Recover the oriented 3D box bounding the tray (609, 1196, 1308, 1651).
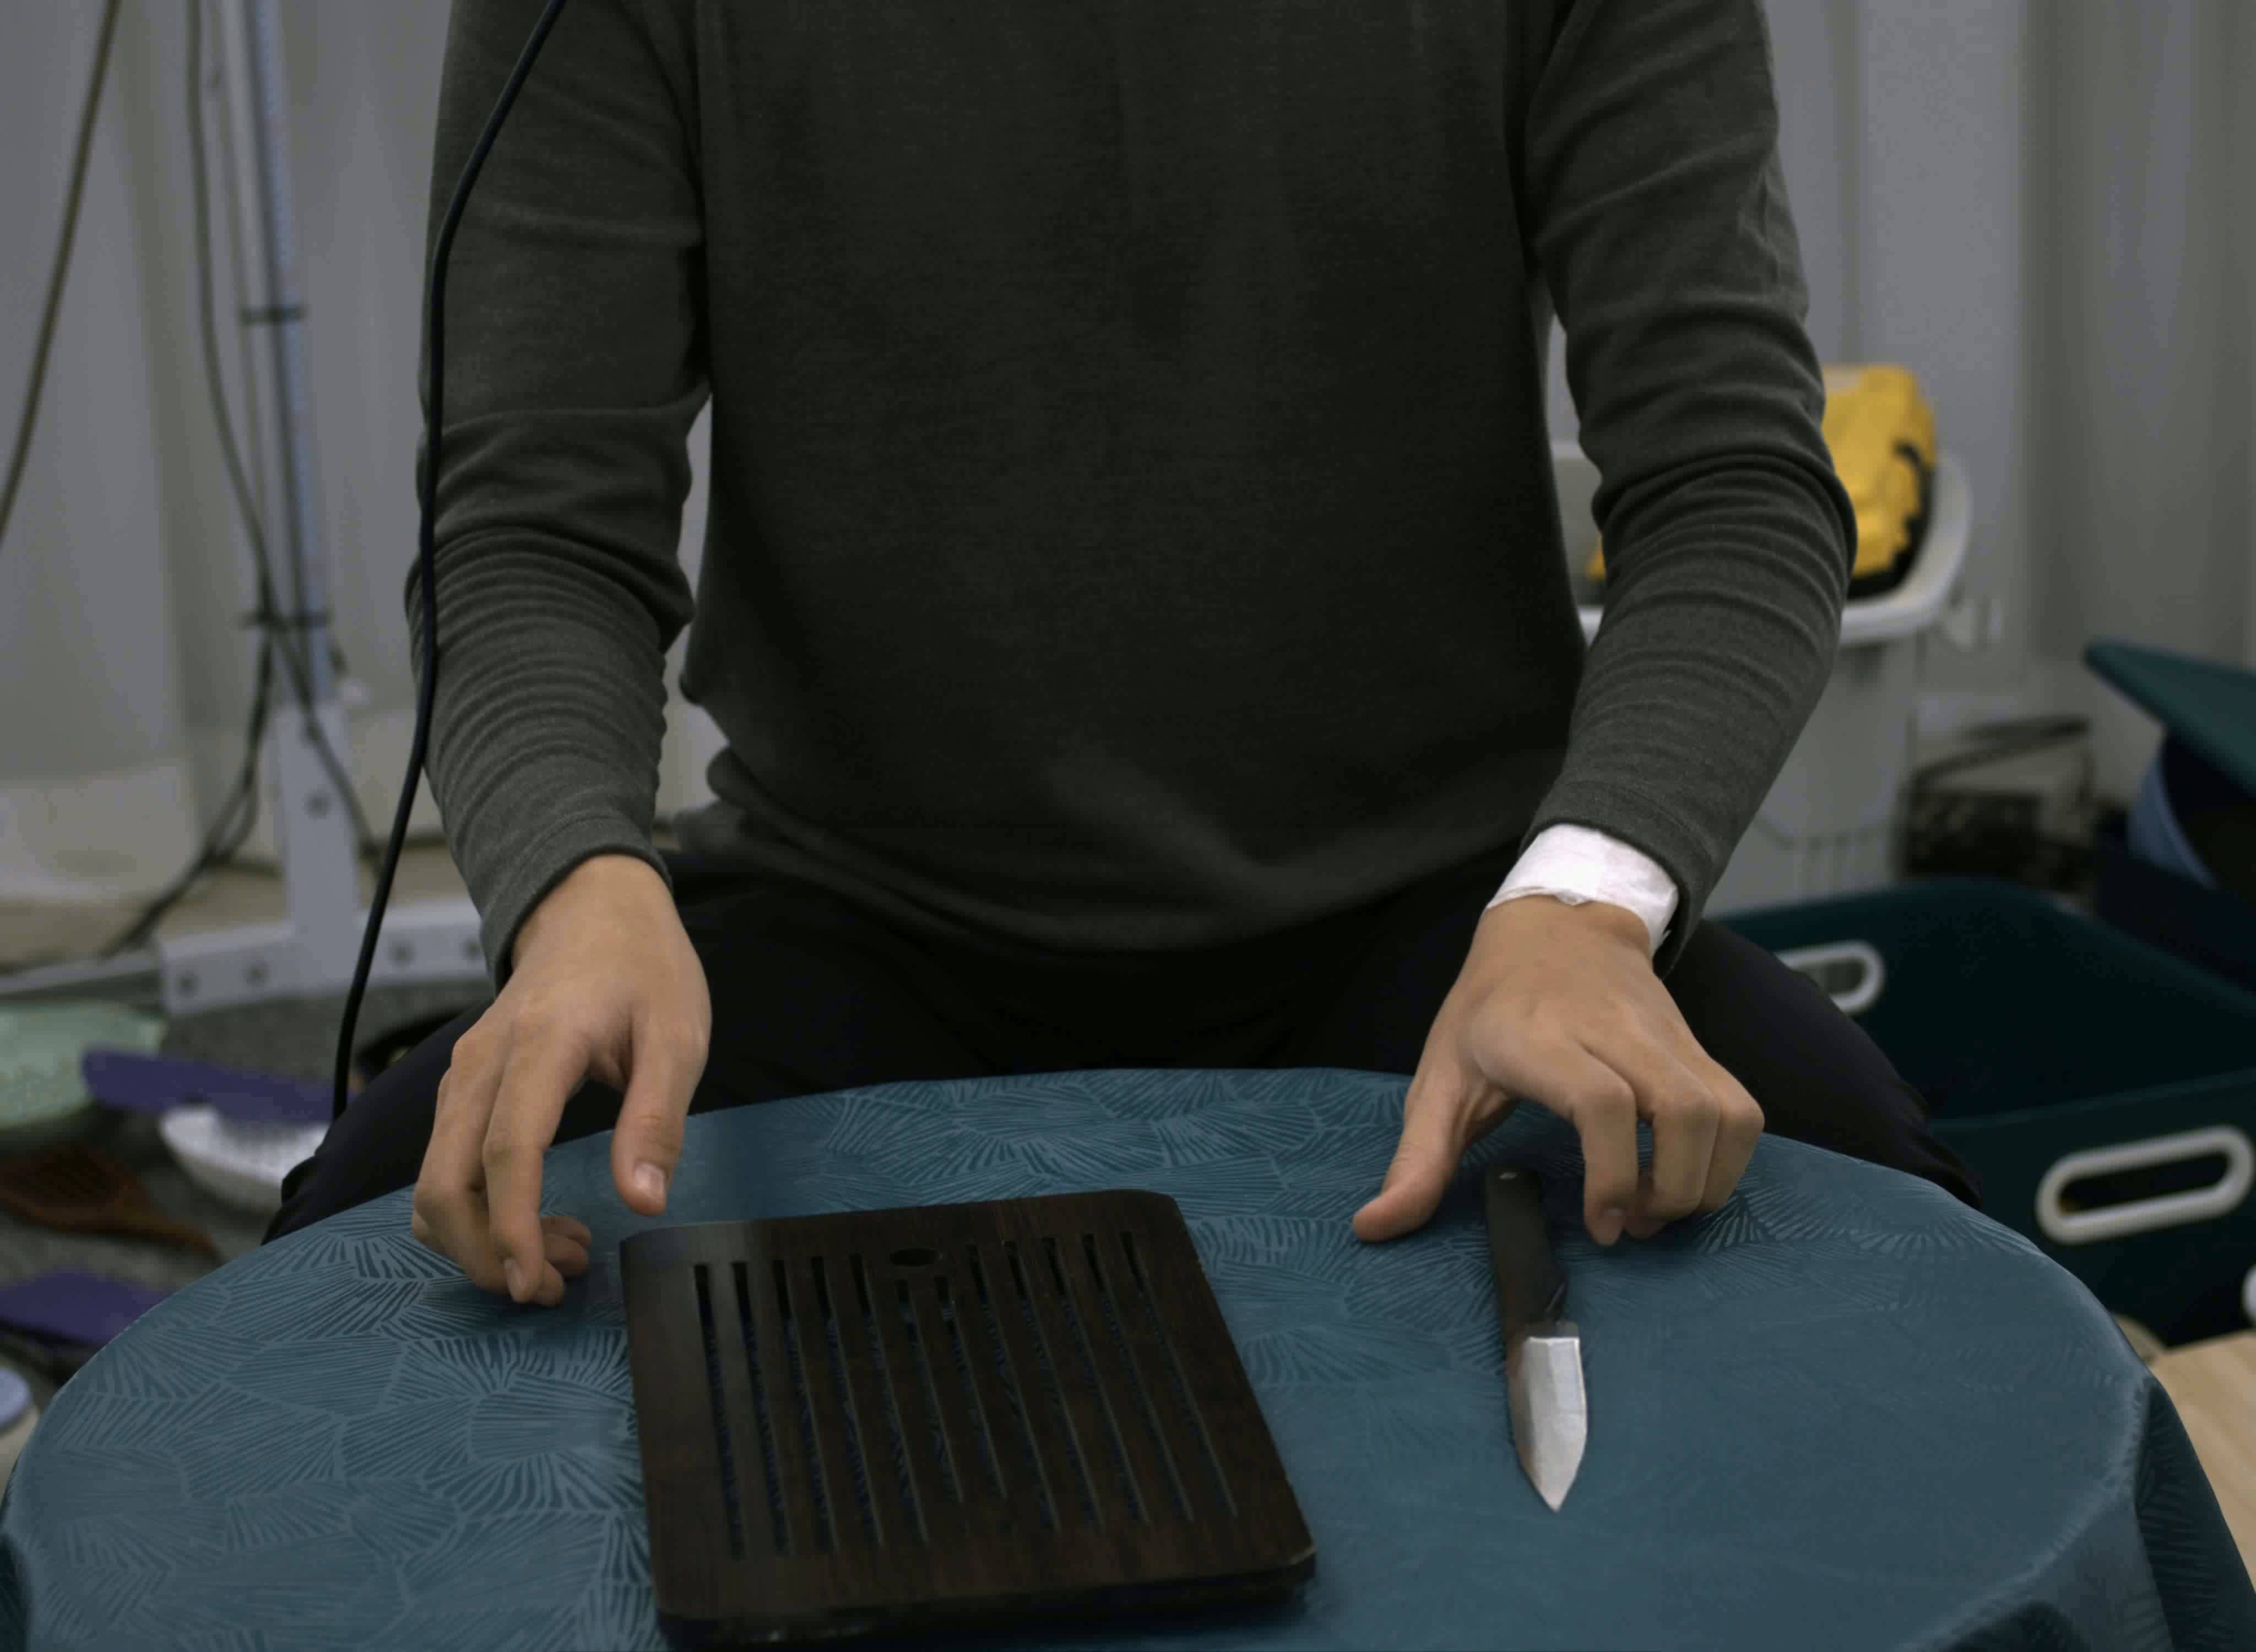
[{"bbox_3d":[-0.055,0.162,1.514,0.169,0.018,0.308,-4,15,-6],"label":"tray"}]

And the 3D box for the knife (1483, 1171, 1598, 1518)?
[{"bbox_3d":[0.116,0.146,1.555,0.024,0.016,0.240,-2,17,1],"label":"knife"}]
